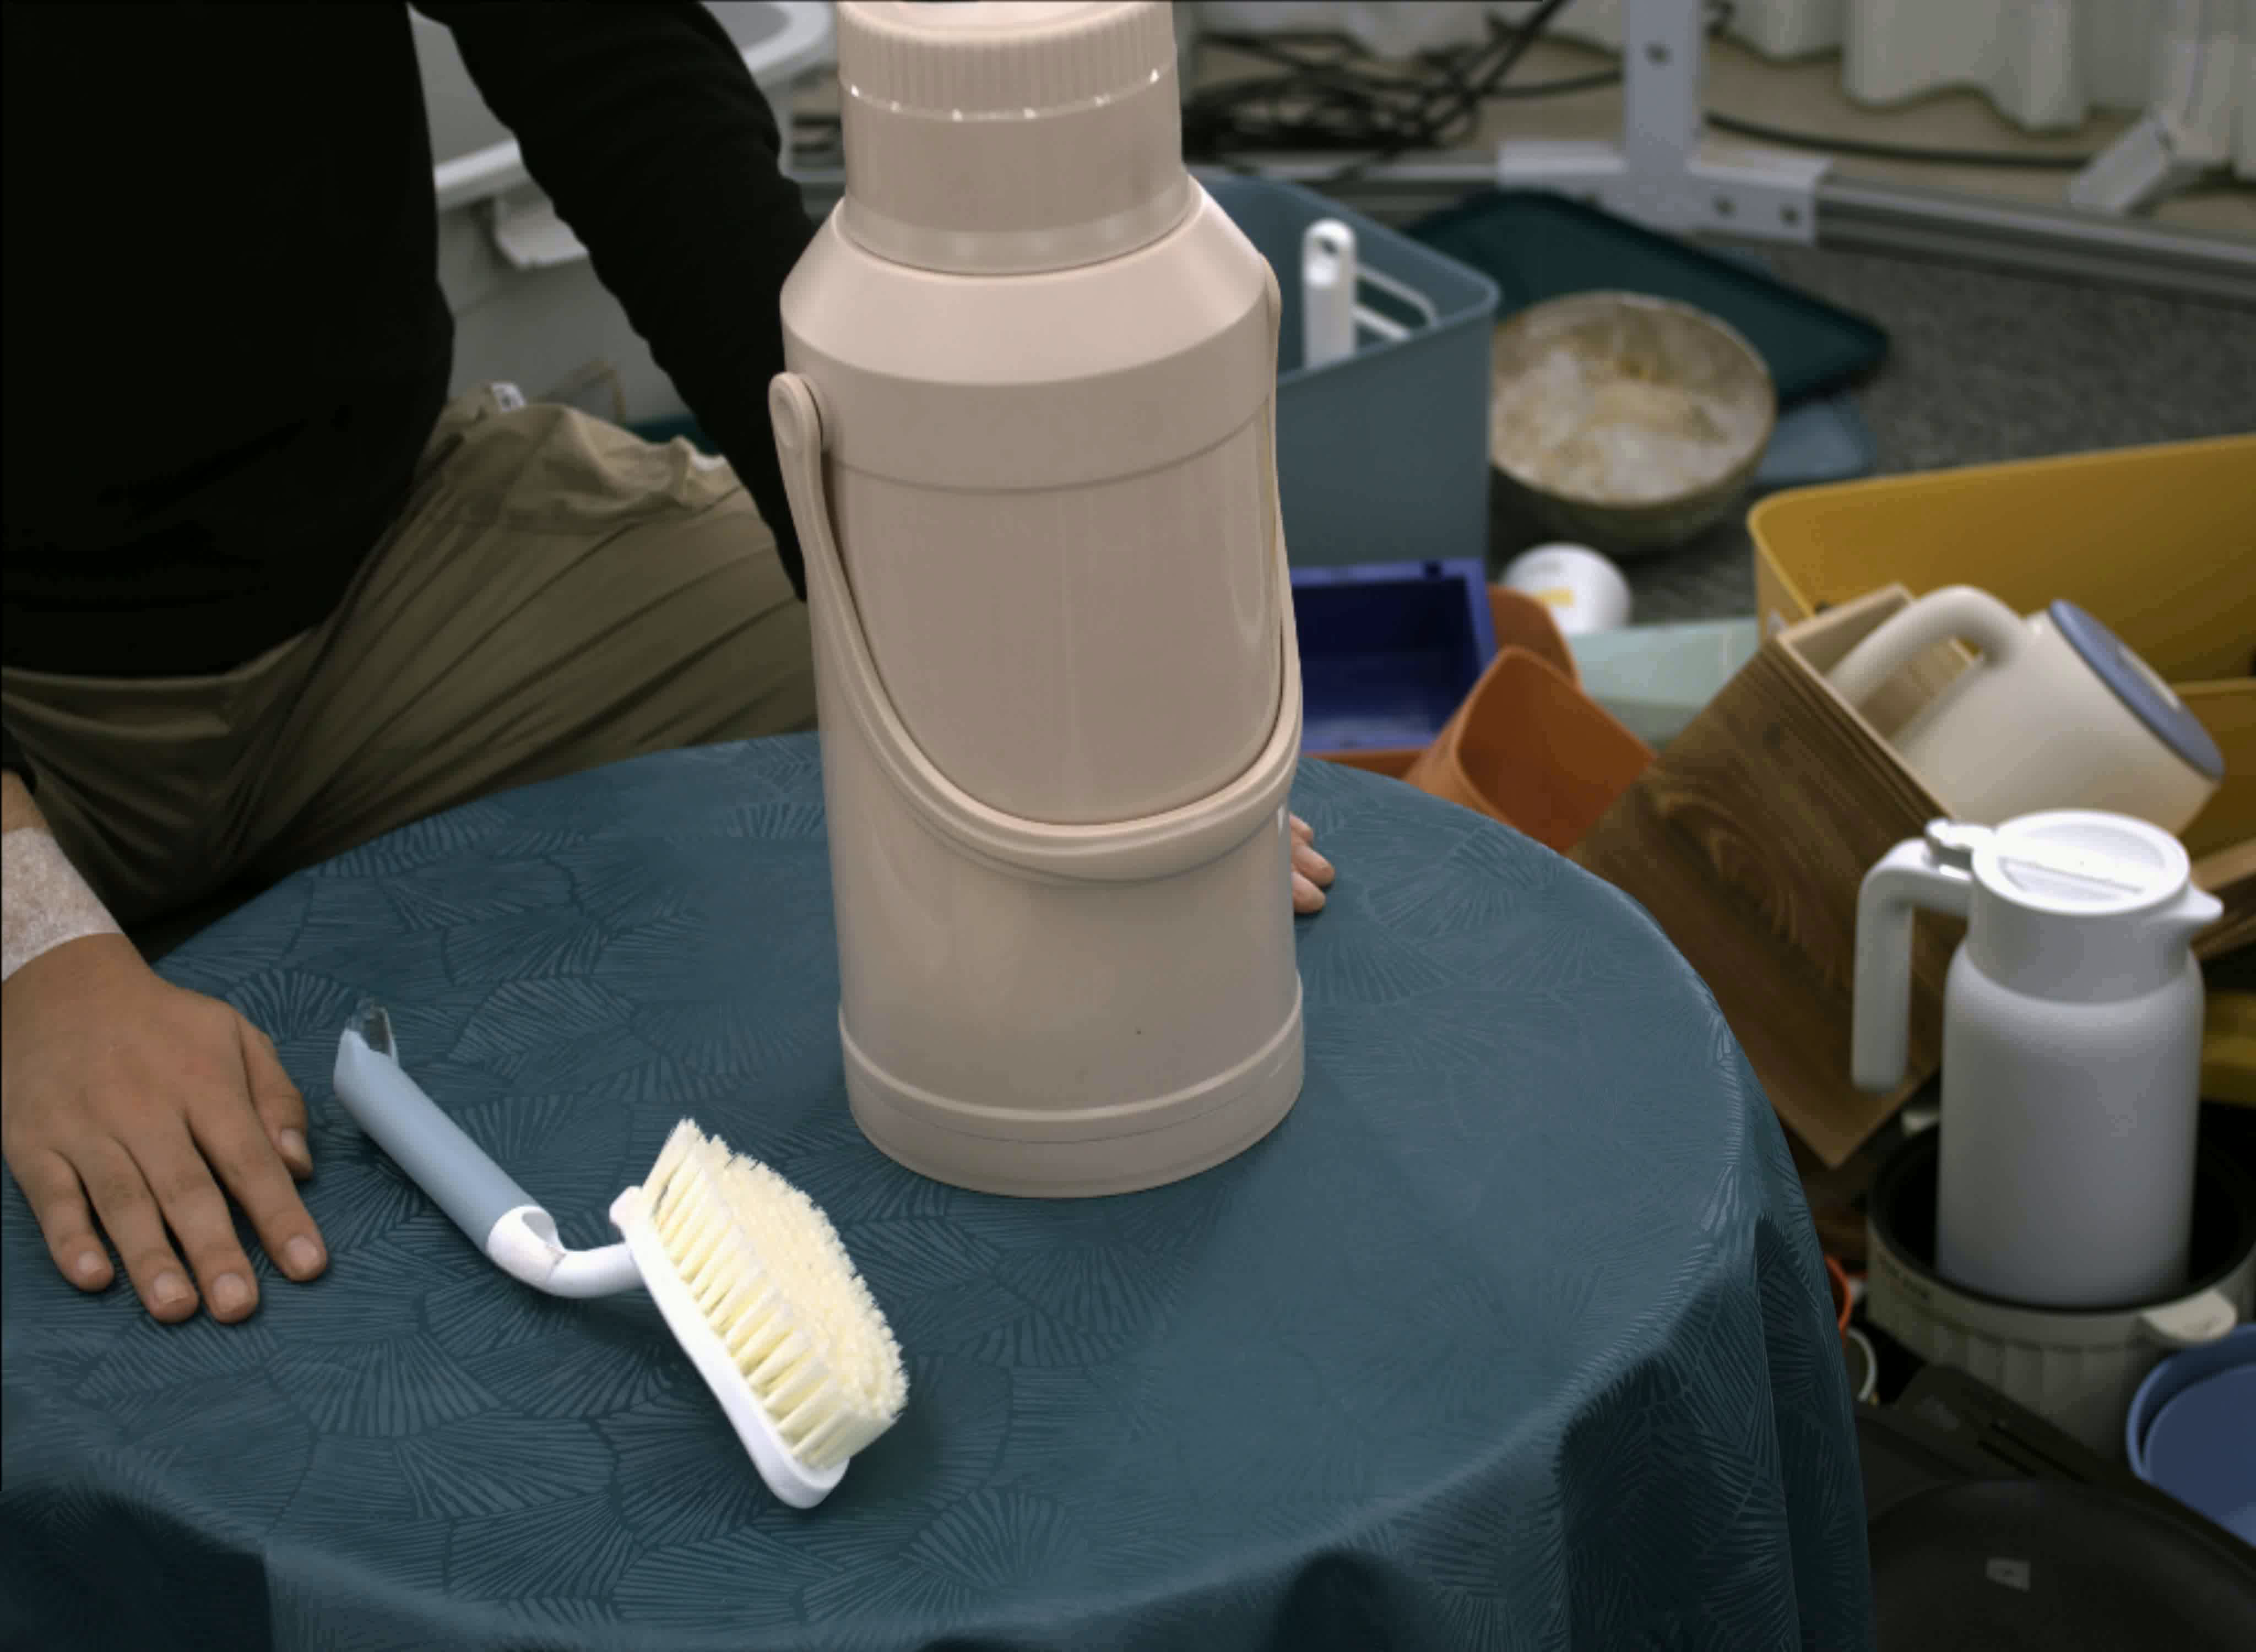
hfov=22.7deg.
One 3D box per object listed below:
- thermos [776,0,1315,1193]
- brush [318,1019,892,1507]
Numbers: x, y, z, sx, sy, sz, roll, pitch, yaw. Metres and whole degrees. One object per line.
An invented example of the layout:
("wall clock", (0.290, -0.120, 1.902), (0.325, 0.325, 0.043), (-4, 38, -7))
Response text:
("thermos", (-0.032, -0.095, 1.857), (0.176, 0.402, 0.208), (-19, 30, -25))
("brush", (-0.168, 0.111, 1.812), (0.085, 0.082, 0.327), (-23, 34, -24))
